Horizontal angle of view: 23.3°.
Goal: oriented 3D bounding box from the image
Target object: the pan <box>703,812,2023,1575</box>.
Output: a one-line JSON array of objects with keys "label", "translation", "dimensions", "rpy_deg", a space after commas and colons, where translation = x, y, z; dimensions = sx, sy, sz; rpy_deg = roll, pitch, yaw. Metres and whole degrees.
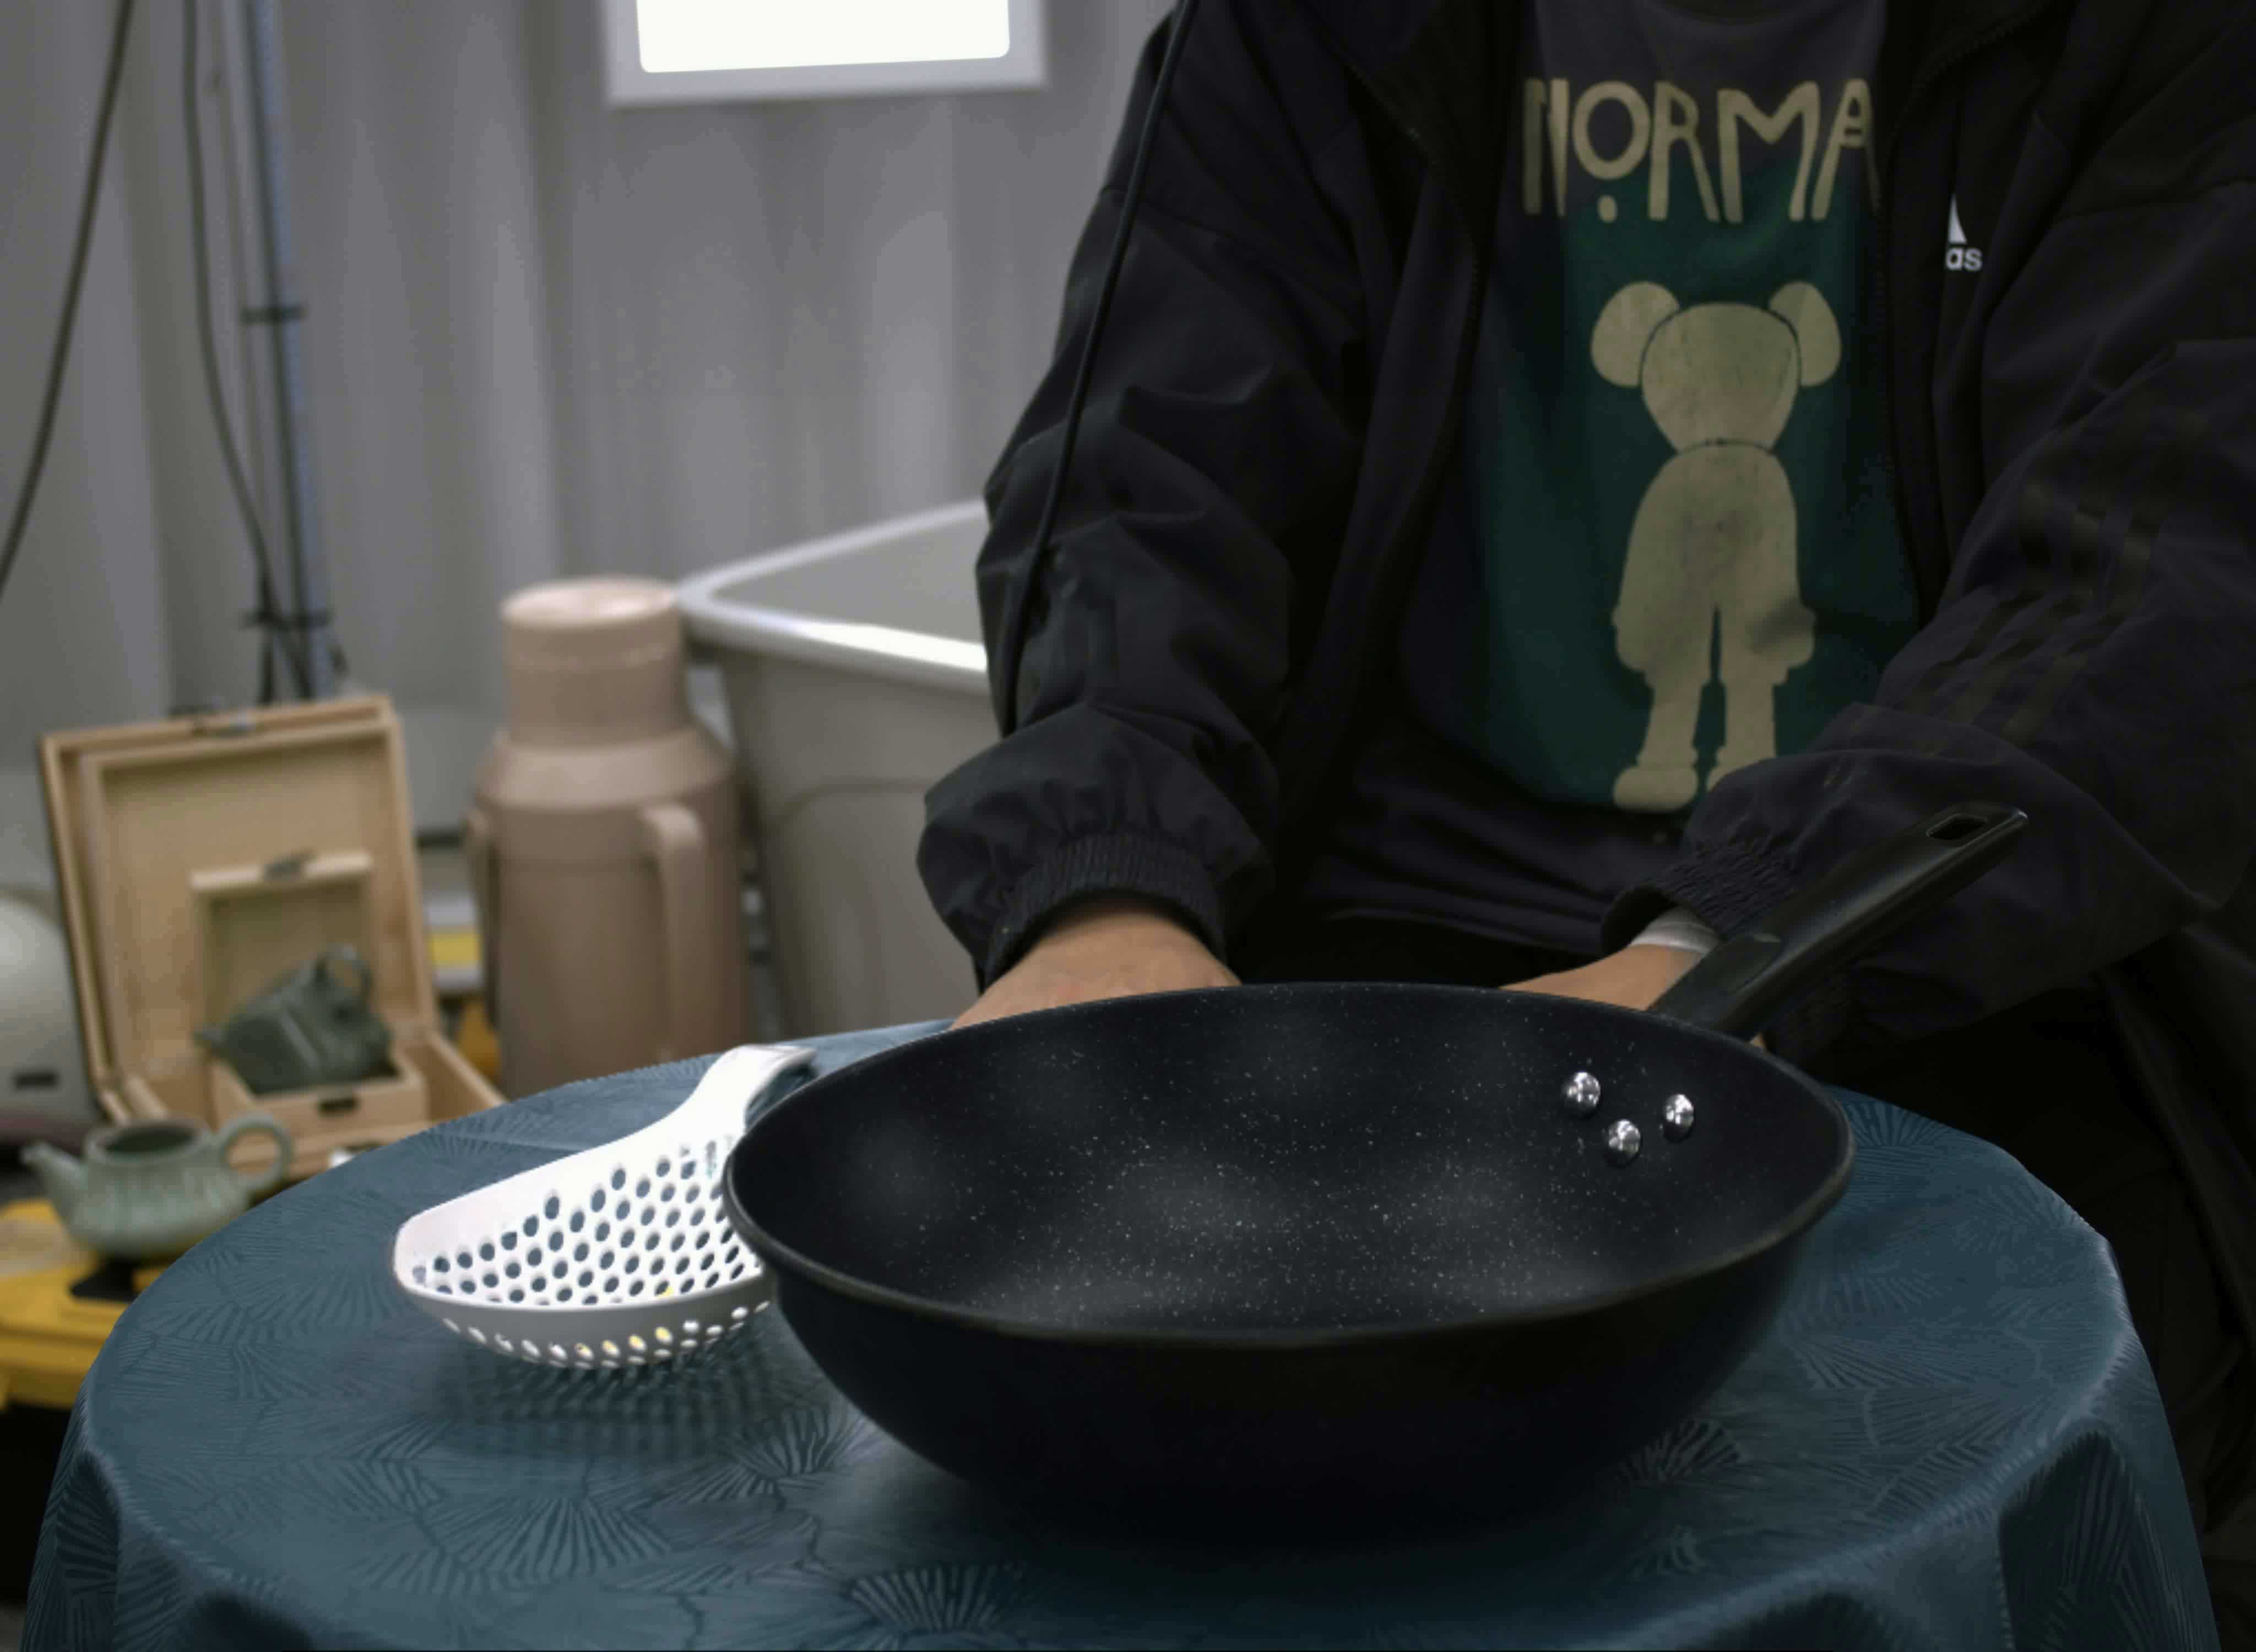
[{"label": "pan", "translation": [0.100, 0.101, 1.543], "dimensions": [0.476, 0.111, 0.312], "rpy_deg": [-17, 22, -42]}]

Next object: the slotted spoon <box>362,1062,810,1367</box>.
[{"label": "slotted spoon", "translation": [-0.135, 0.106, 1.693], "dimensions": [0.136, 0.050, 0.350], "rpy_deg": [-3, 14, 9]}]
